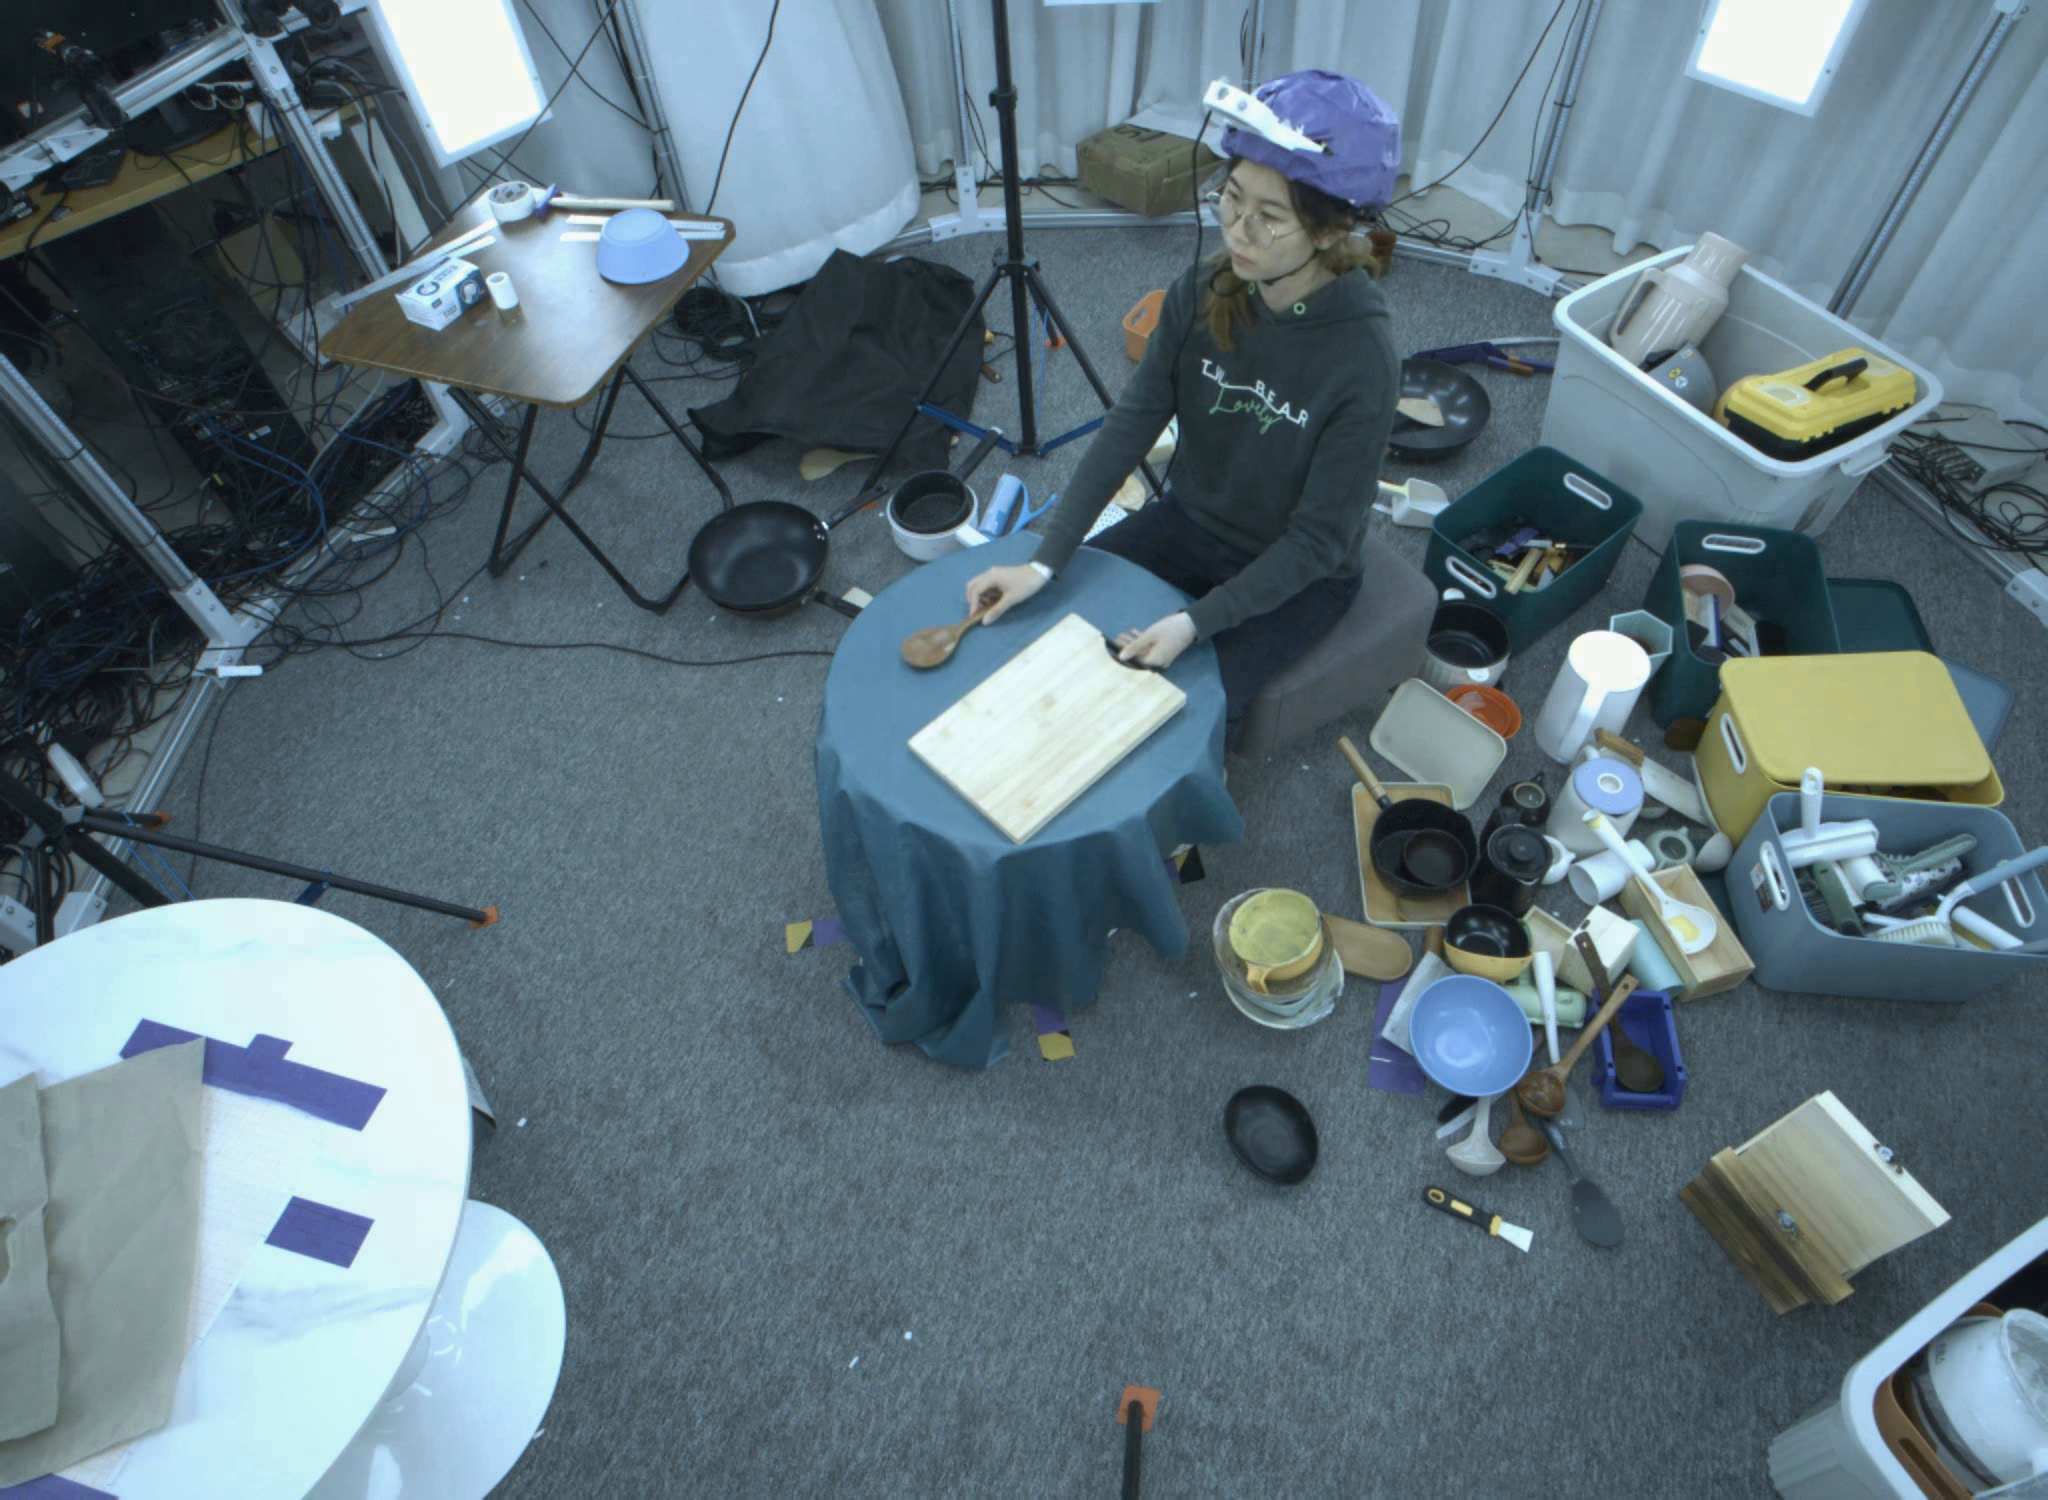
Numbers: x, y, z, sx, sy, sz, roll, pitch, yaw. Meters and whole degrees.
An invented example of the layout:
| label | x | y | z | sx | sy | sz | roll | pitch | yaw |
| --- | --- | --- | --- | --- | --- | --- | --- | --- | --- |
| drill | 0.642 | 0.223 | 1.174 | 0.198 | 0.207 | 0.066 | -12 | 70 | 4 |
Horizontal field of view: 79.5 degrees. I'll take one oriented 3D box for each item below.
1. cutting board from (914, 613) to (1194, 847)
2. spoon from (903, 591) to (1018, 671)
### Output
| label | x | y | z | sx | sy | sz | roll | pitch | yaw |
| --- | --- | --- | --- | --- | --- | --- | --- | --- | --- |
| cutting board | 0.043 | -0.040 | 1.807 | 0.351 | 0.024 | 0.246 | -41 | 64 | -21 |
| spoon | -0.096 | -0.188 | 1.921 | 0.217 | 0.017 | 0.074 | -36 | 60 | -21 |
